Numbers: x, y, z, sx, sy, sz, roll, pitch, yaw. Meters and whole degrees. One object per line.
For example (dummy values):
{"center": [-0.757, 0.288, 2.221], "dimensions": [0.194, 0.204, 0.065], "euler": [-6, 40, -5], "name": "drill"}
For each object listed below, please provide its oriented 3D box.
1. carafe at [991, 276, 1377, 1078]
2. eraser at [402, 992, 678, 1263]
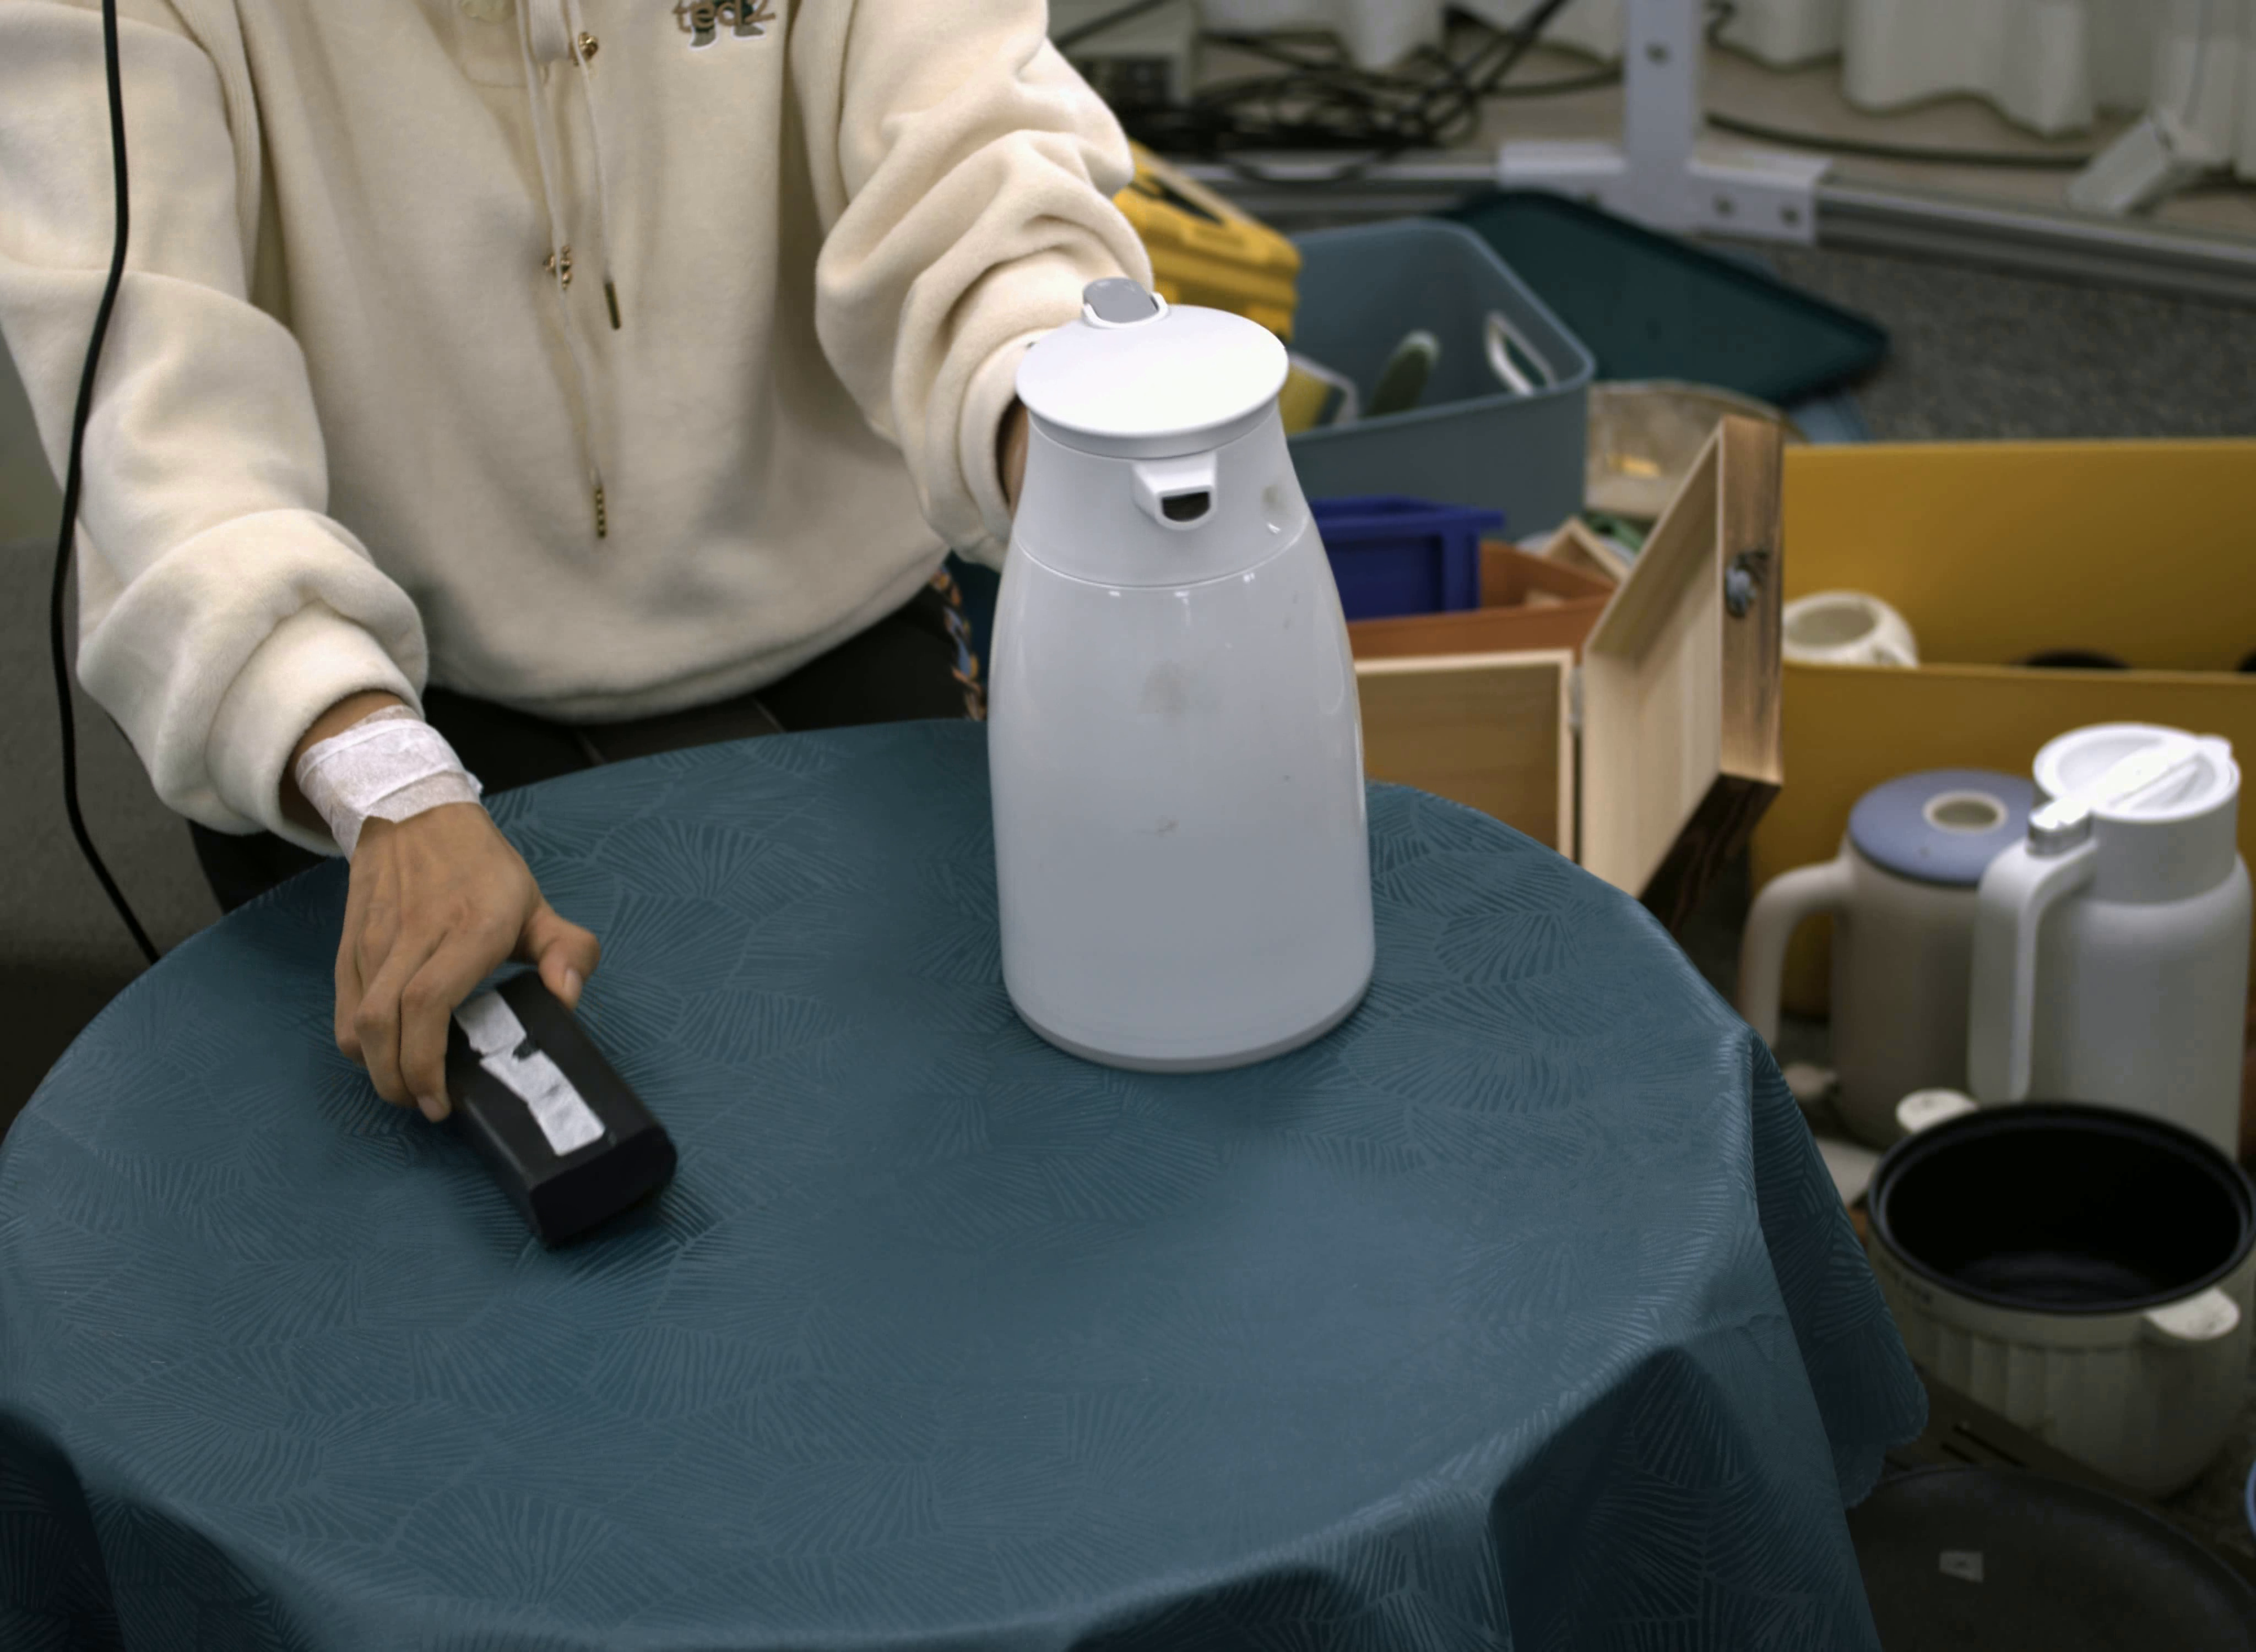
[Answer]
{"center": [0.011, -0.062, 1.938], "dimensions": [0.132, 0.246, 0.170], "euler": [-8, 29, -8], "name": "carafe"}
{"center": [-0.197, 0.100, 1.882], "dimensions": [0.054, 0.030, 0.126], "euler": [-24, 32, -17], "name": "eraser"}
